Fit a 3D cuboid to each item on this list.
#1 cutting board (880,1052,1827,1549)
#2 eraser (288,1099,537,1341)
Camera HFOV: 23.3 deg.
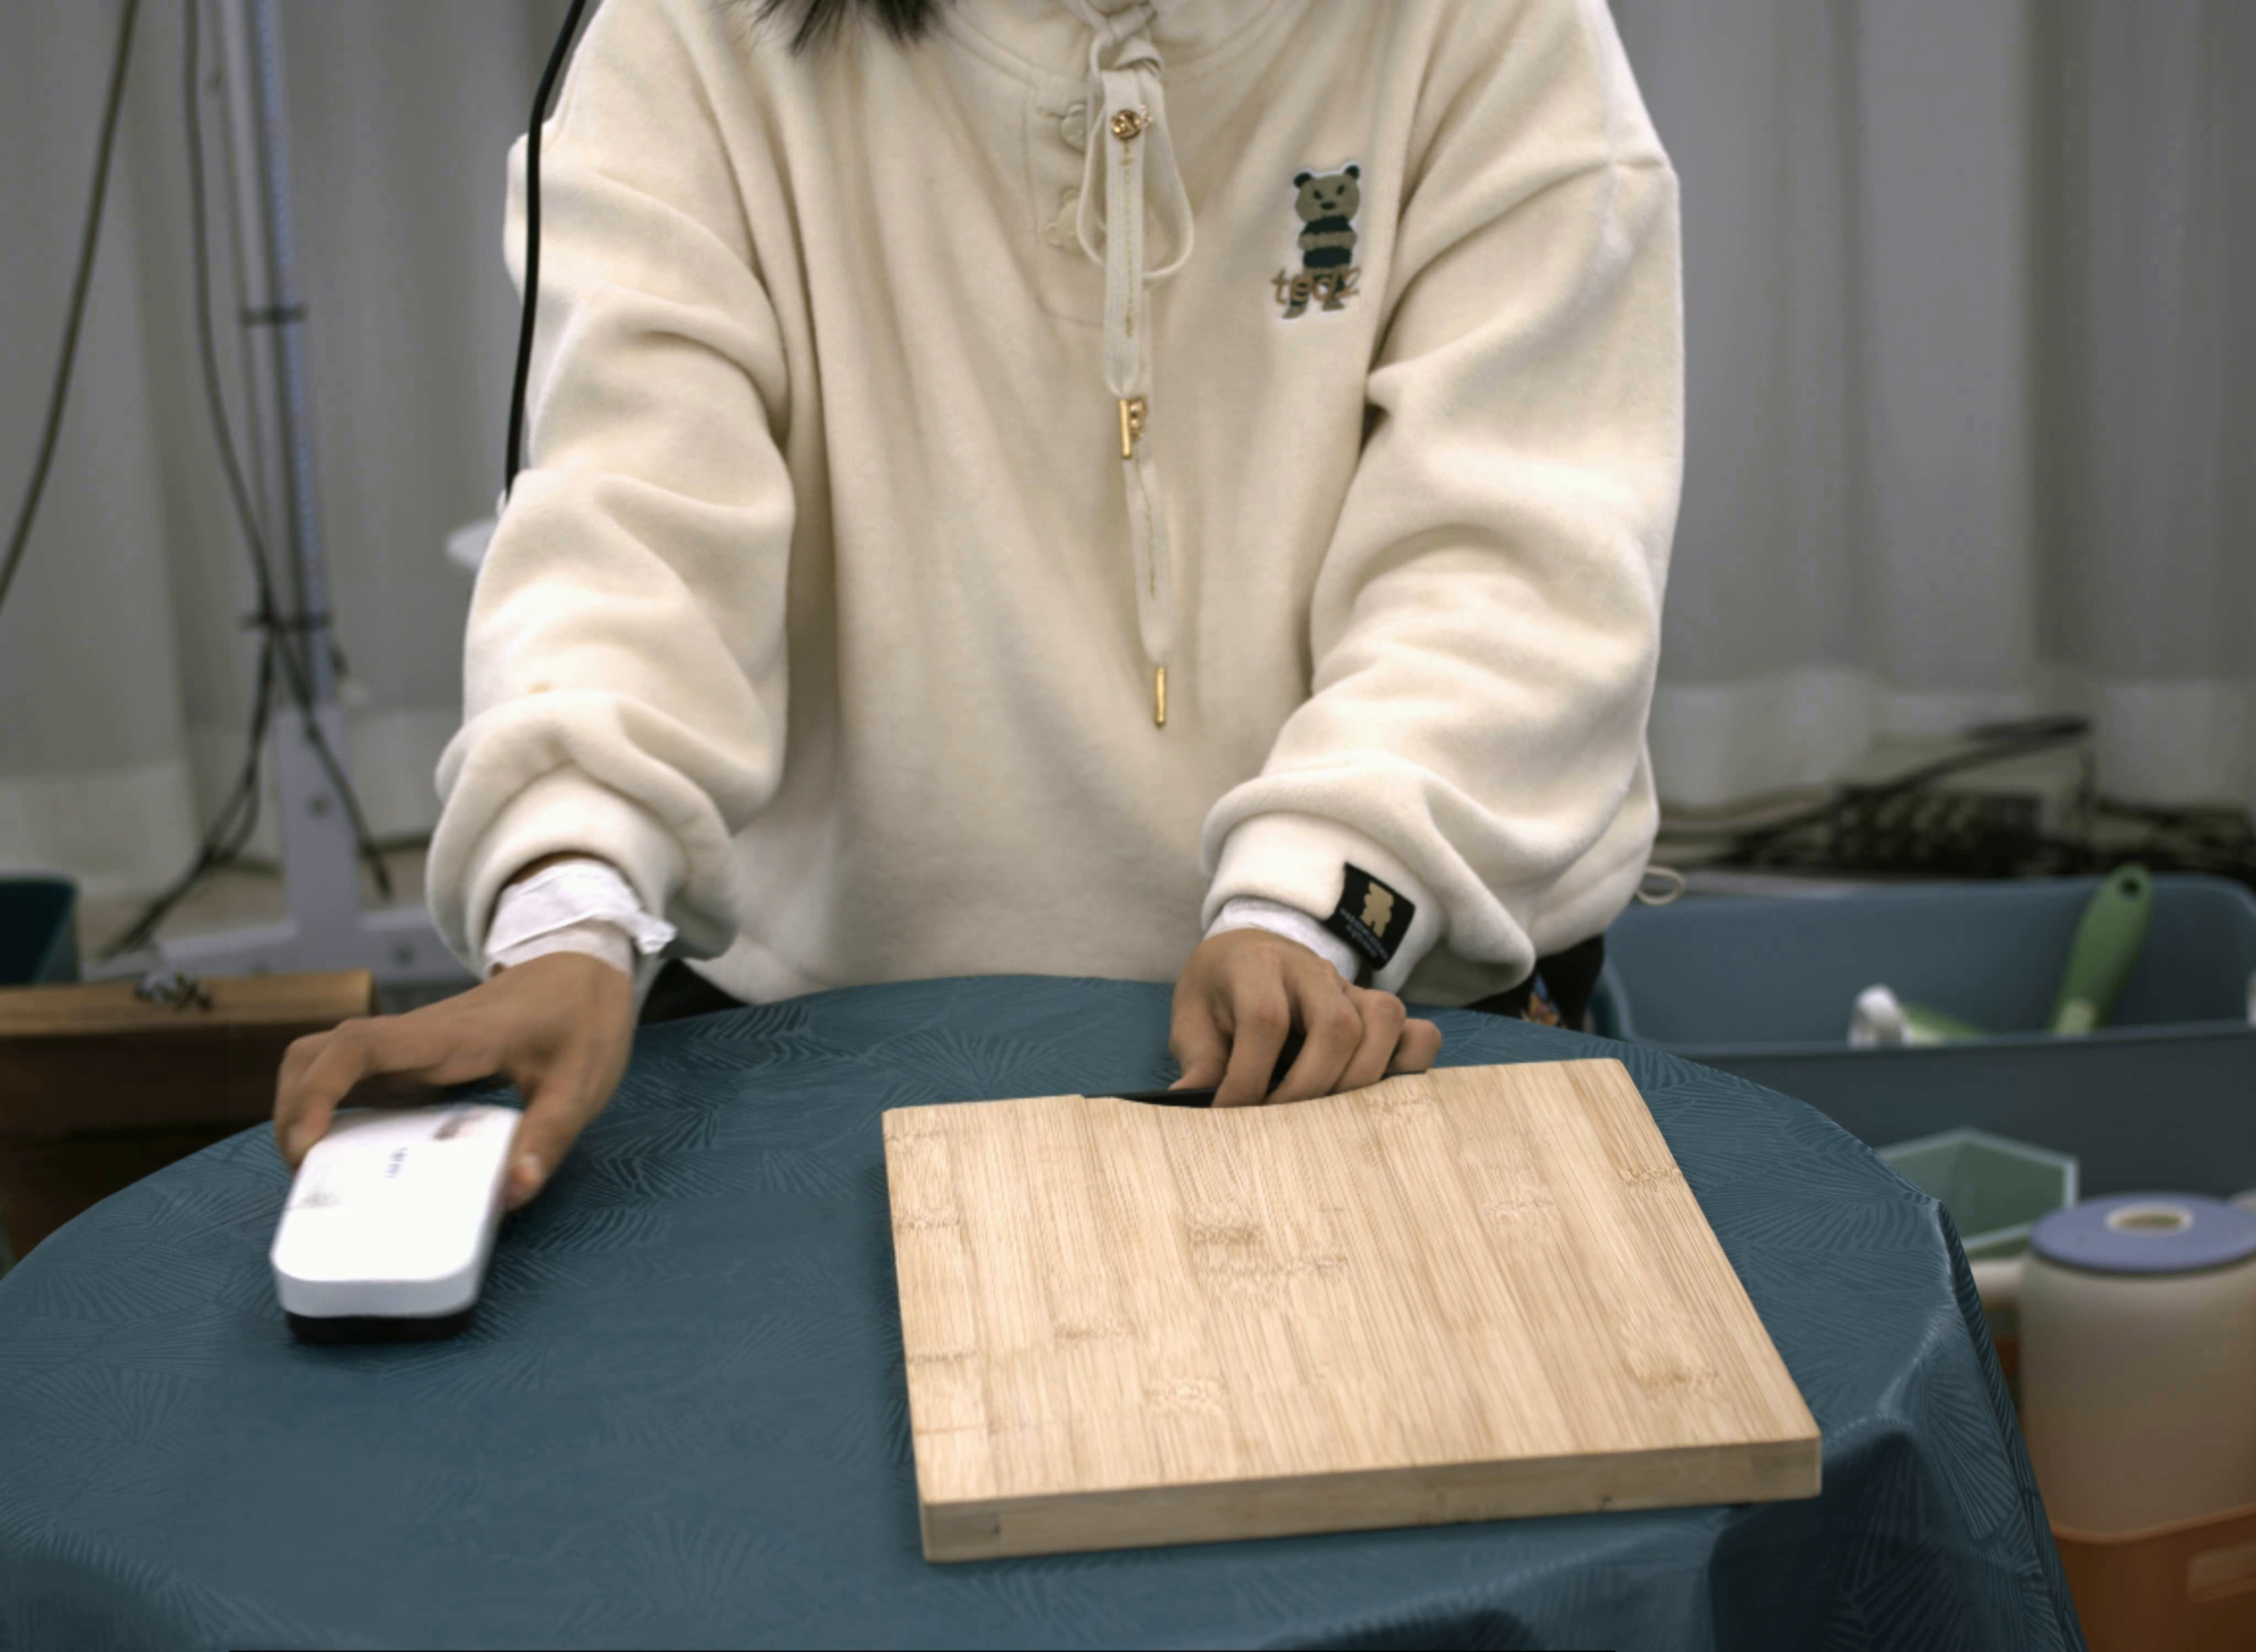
[{"bbox_3d":[0.053,0.133,1.602,0.250,0.023,0.351,-4,15,-4],"label":"cutting board"},{"bbox_3d":[-0.215,0.116,1.665,0.063,0.034,0.132,0,20,3],"label":"eraser"}]
